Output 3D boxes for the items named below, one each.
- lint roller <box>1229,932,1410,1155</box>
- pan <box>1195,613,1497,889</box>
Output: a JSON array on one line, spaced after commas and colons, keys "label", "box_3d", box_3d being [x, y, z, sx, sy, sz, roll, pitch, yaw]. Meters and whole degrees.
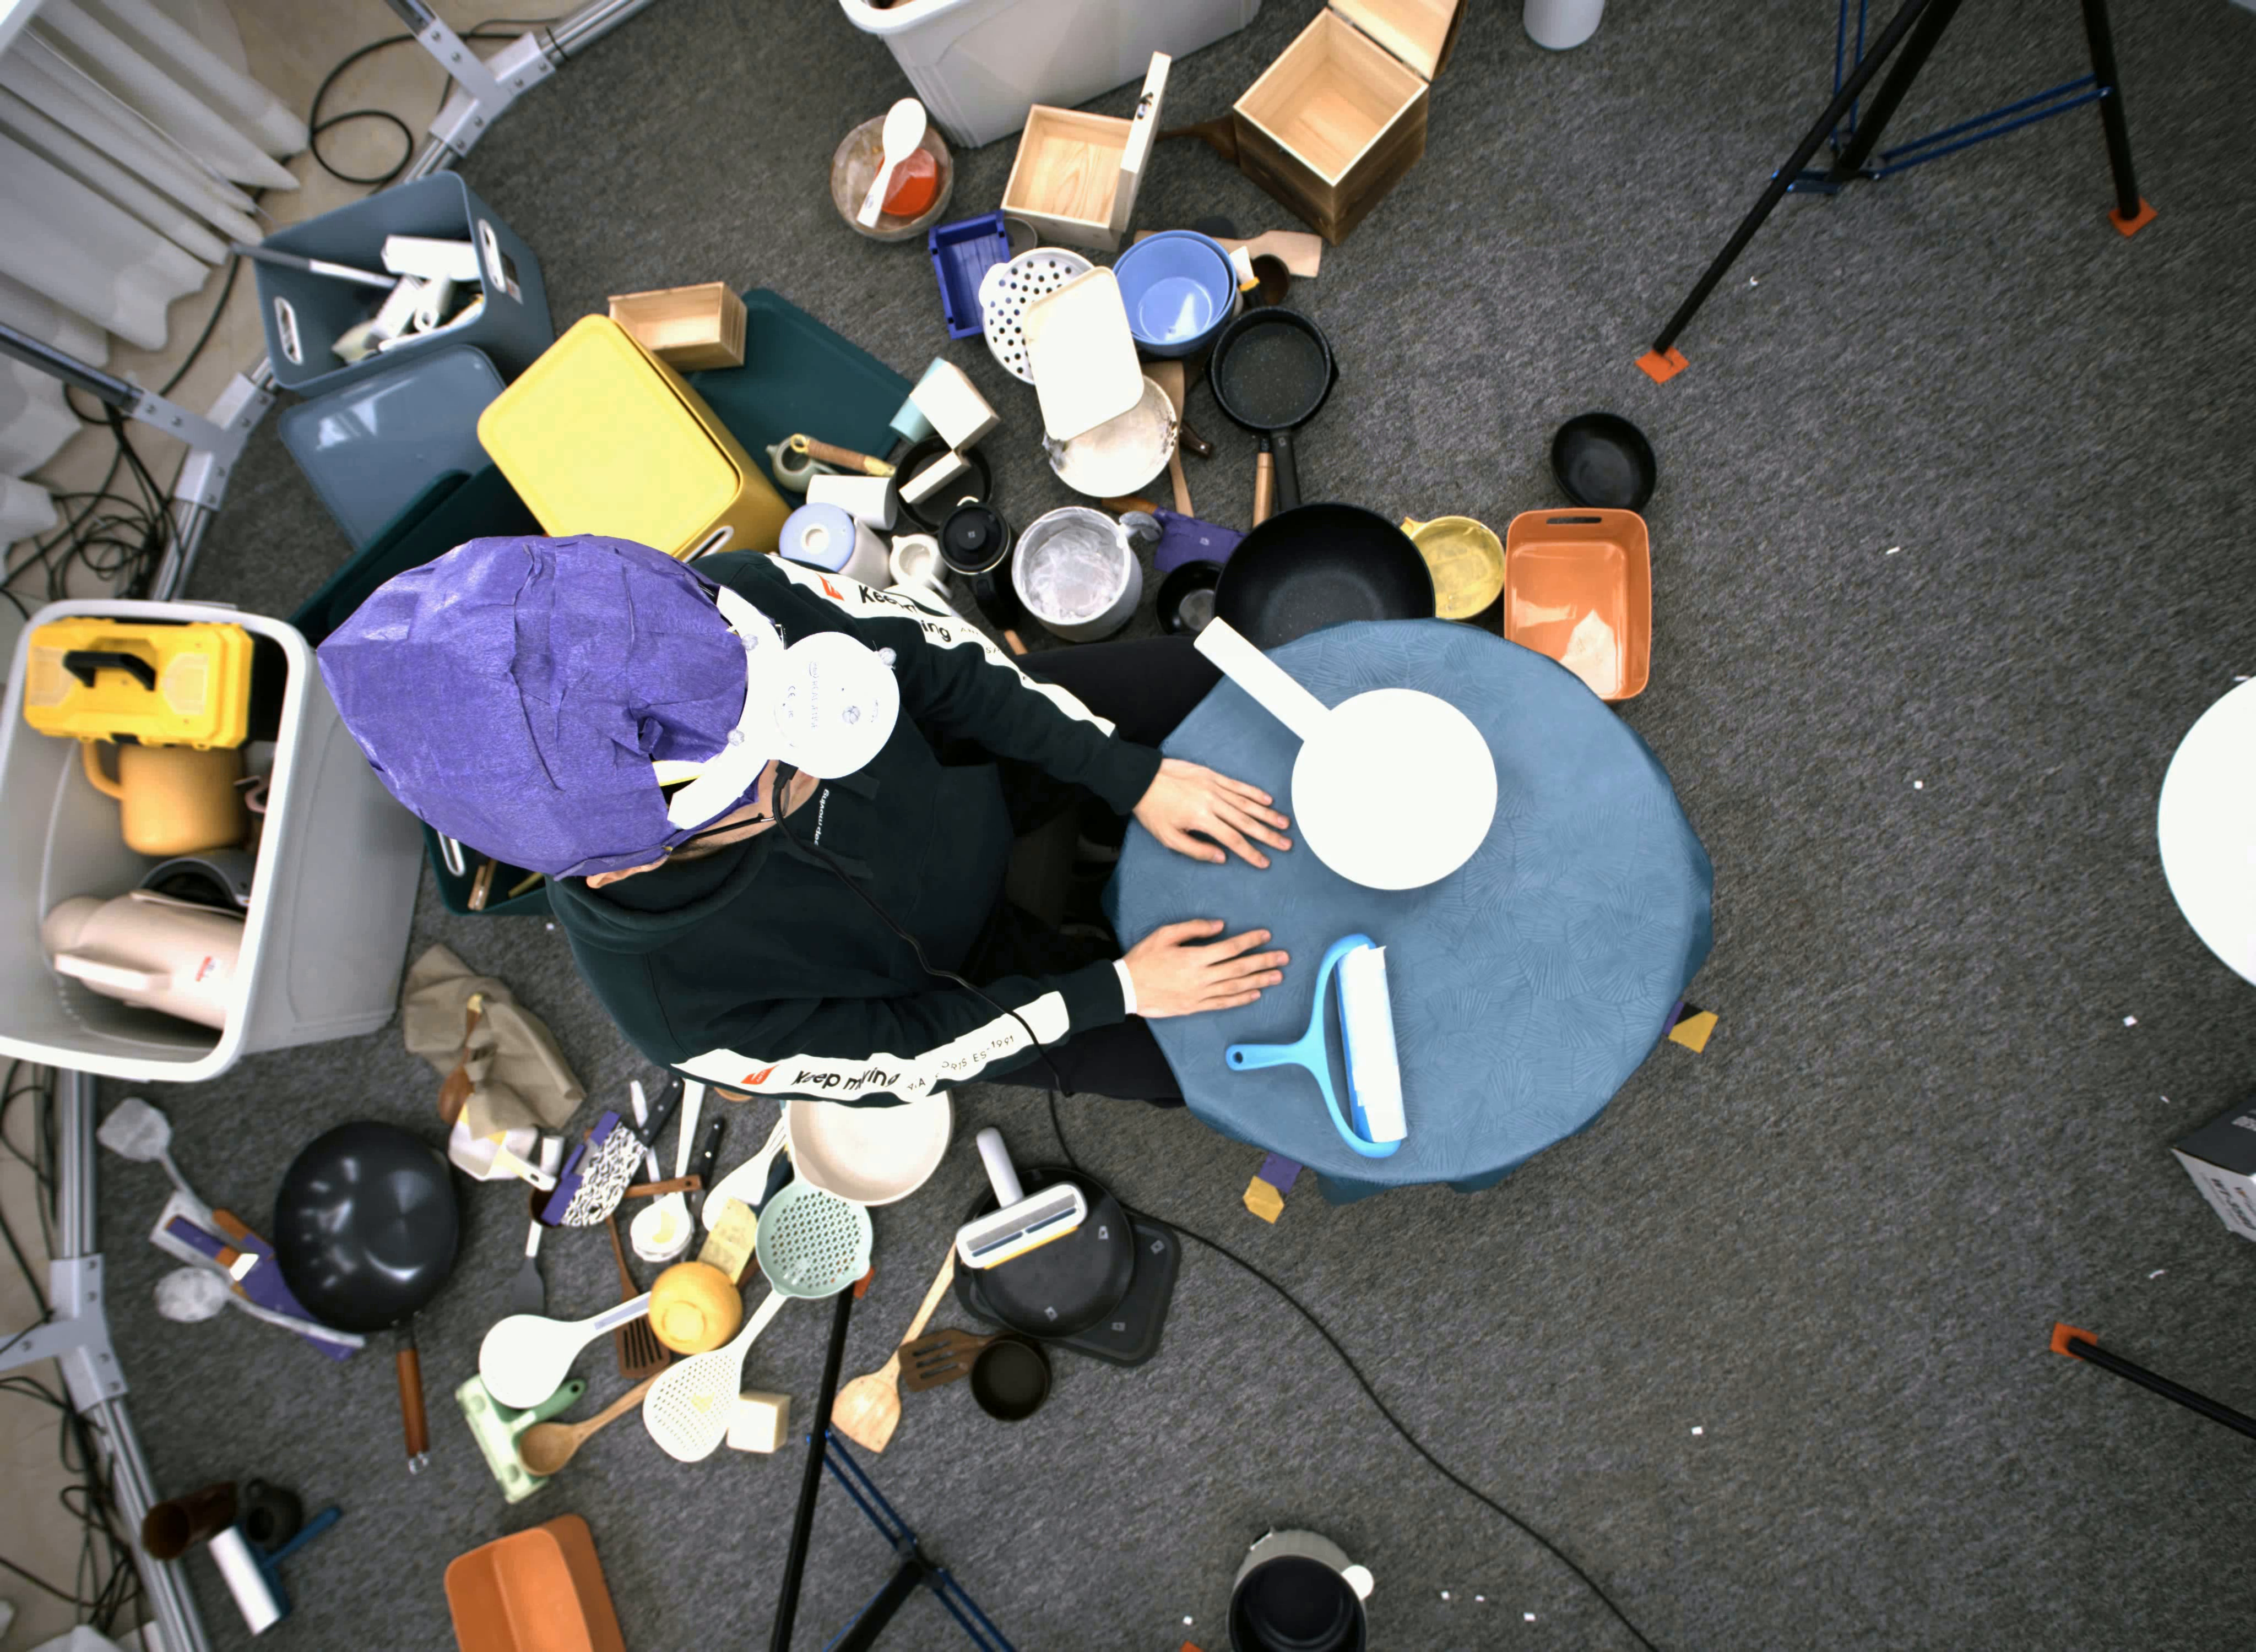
[{"label": "lint roller", "box_3d": [0.192, 0.233, 1.433, 0.181, 0.068, 0.228, -10, 87, 9]}, {"label": "pan", "box_3d": [0.215, -0.085, 1.423, 0.353, 0.102, 0.202, 42, 95, 11]}]
